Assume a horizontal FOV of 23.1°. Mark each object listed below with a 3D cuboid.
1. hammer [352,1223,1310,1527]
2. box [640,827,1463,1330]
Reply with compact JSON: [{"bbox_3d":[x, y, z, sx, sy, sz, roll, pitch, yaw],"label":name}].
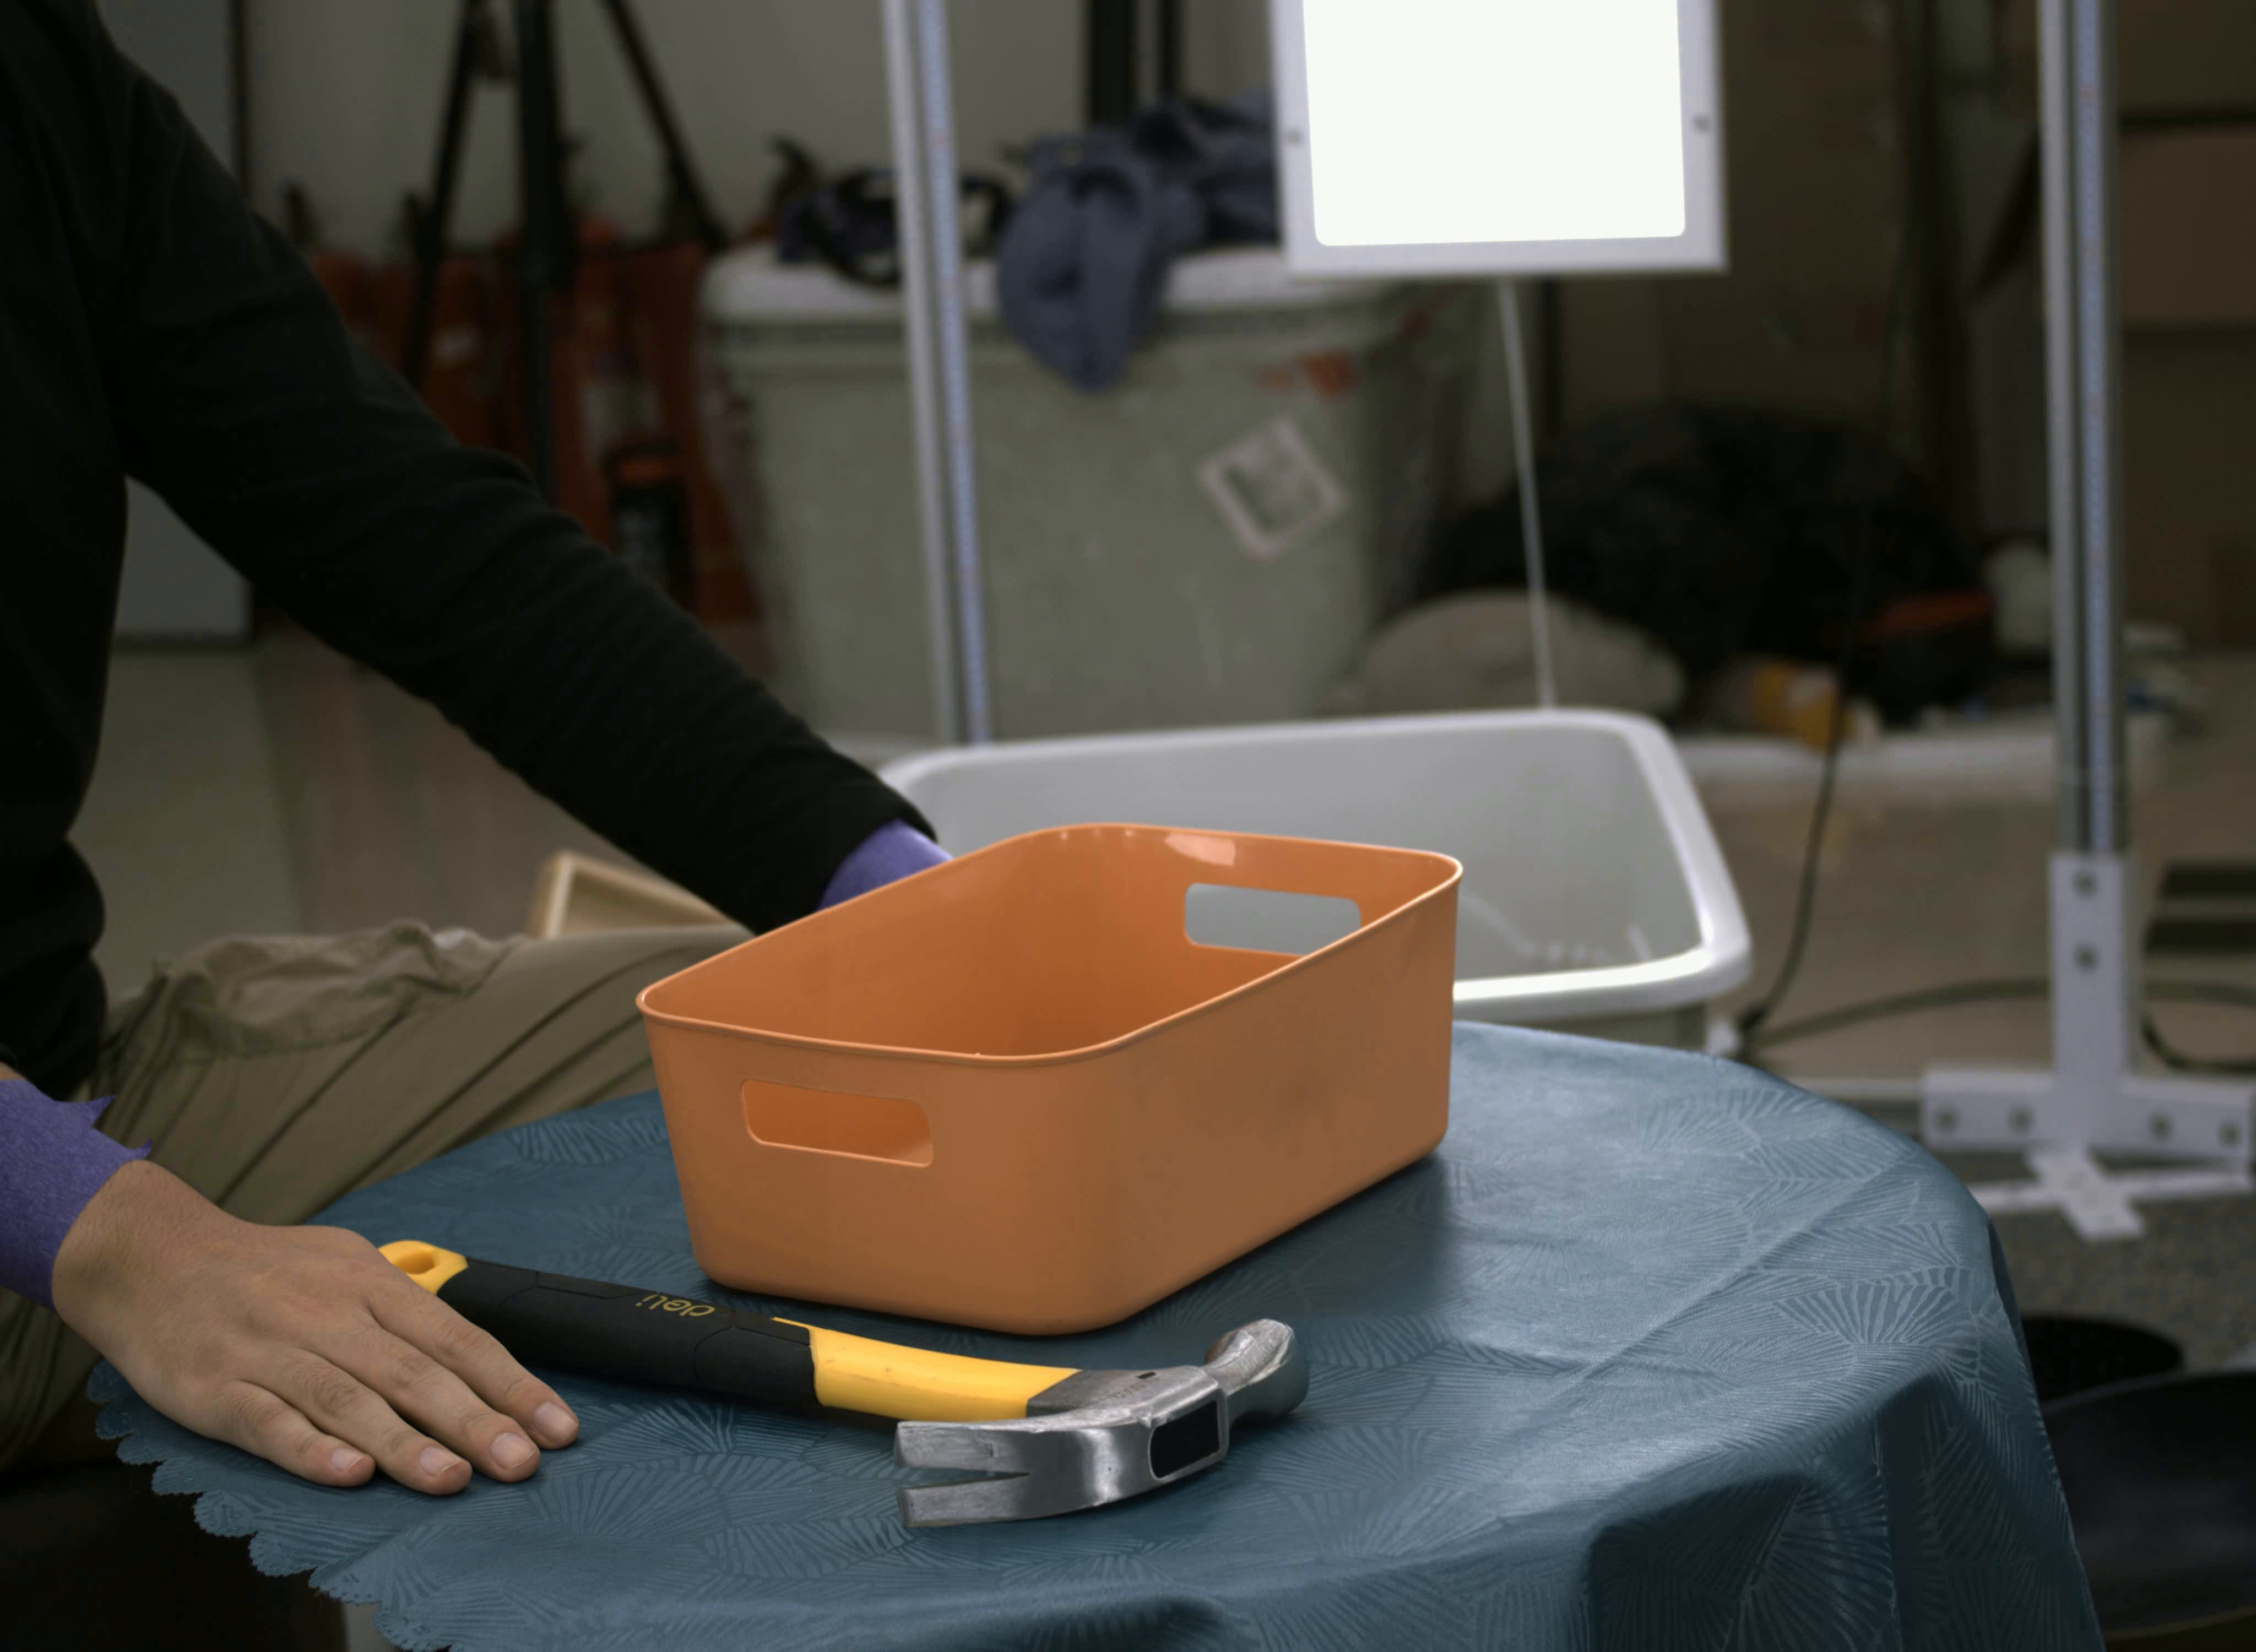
[{"bbox_3d":[-0.115,0.162,1.722,0.345,0.032,0.128,8,19,39],"label":"hammer"},{"bbox_3d":[-0.020,0.083,1.869,0.203,0.103,0.266,4,16,36],"label":"box"}]
